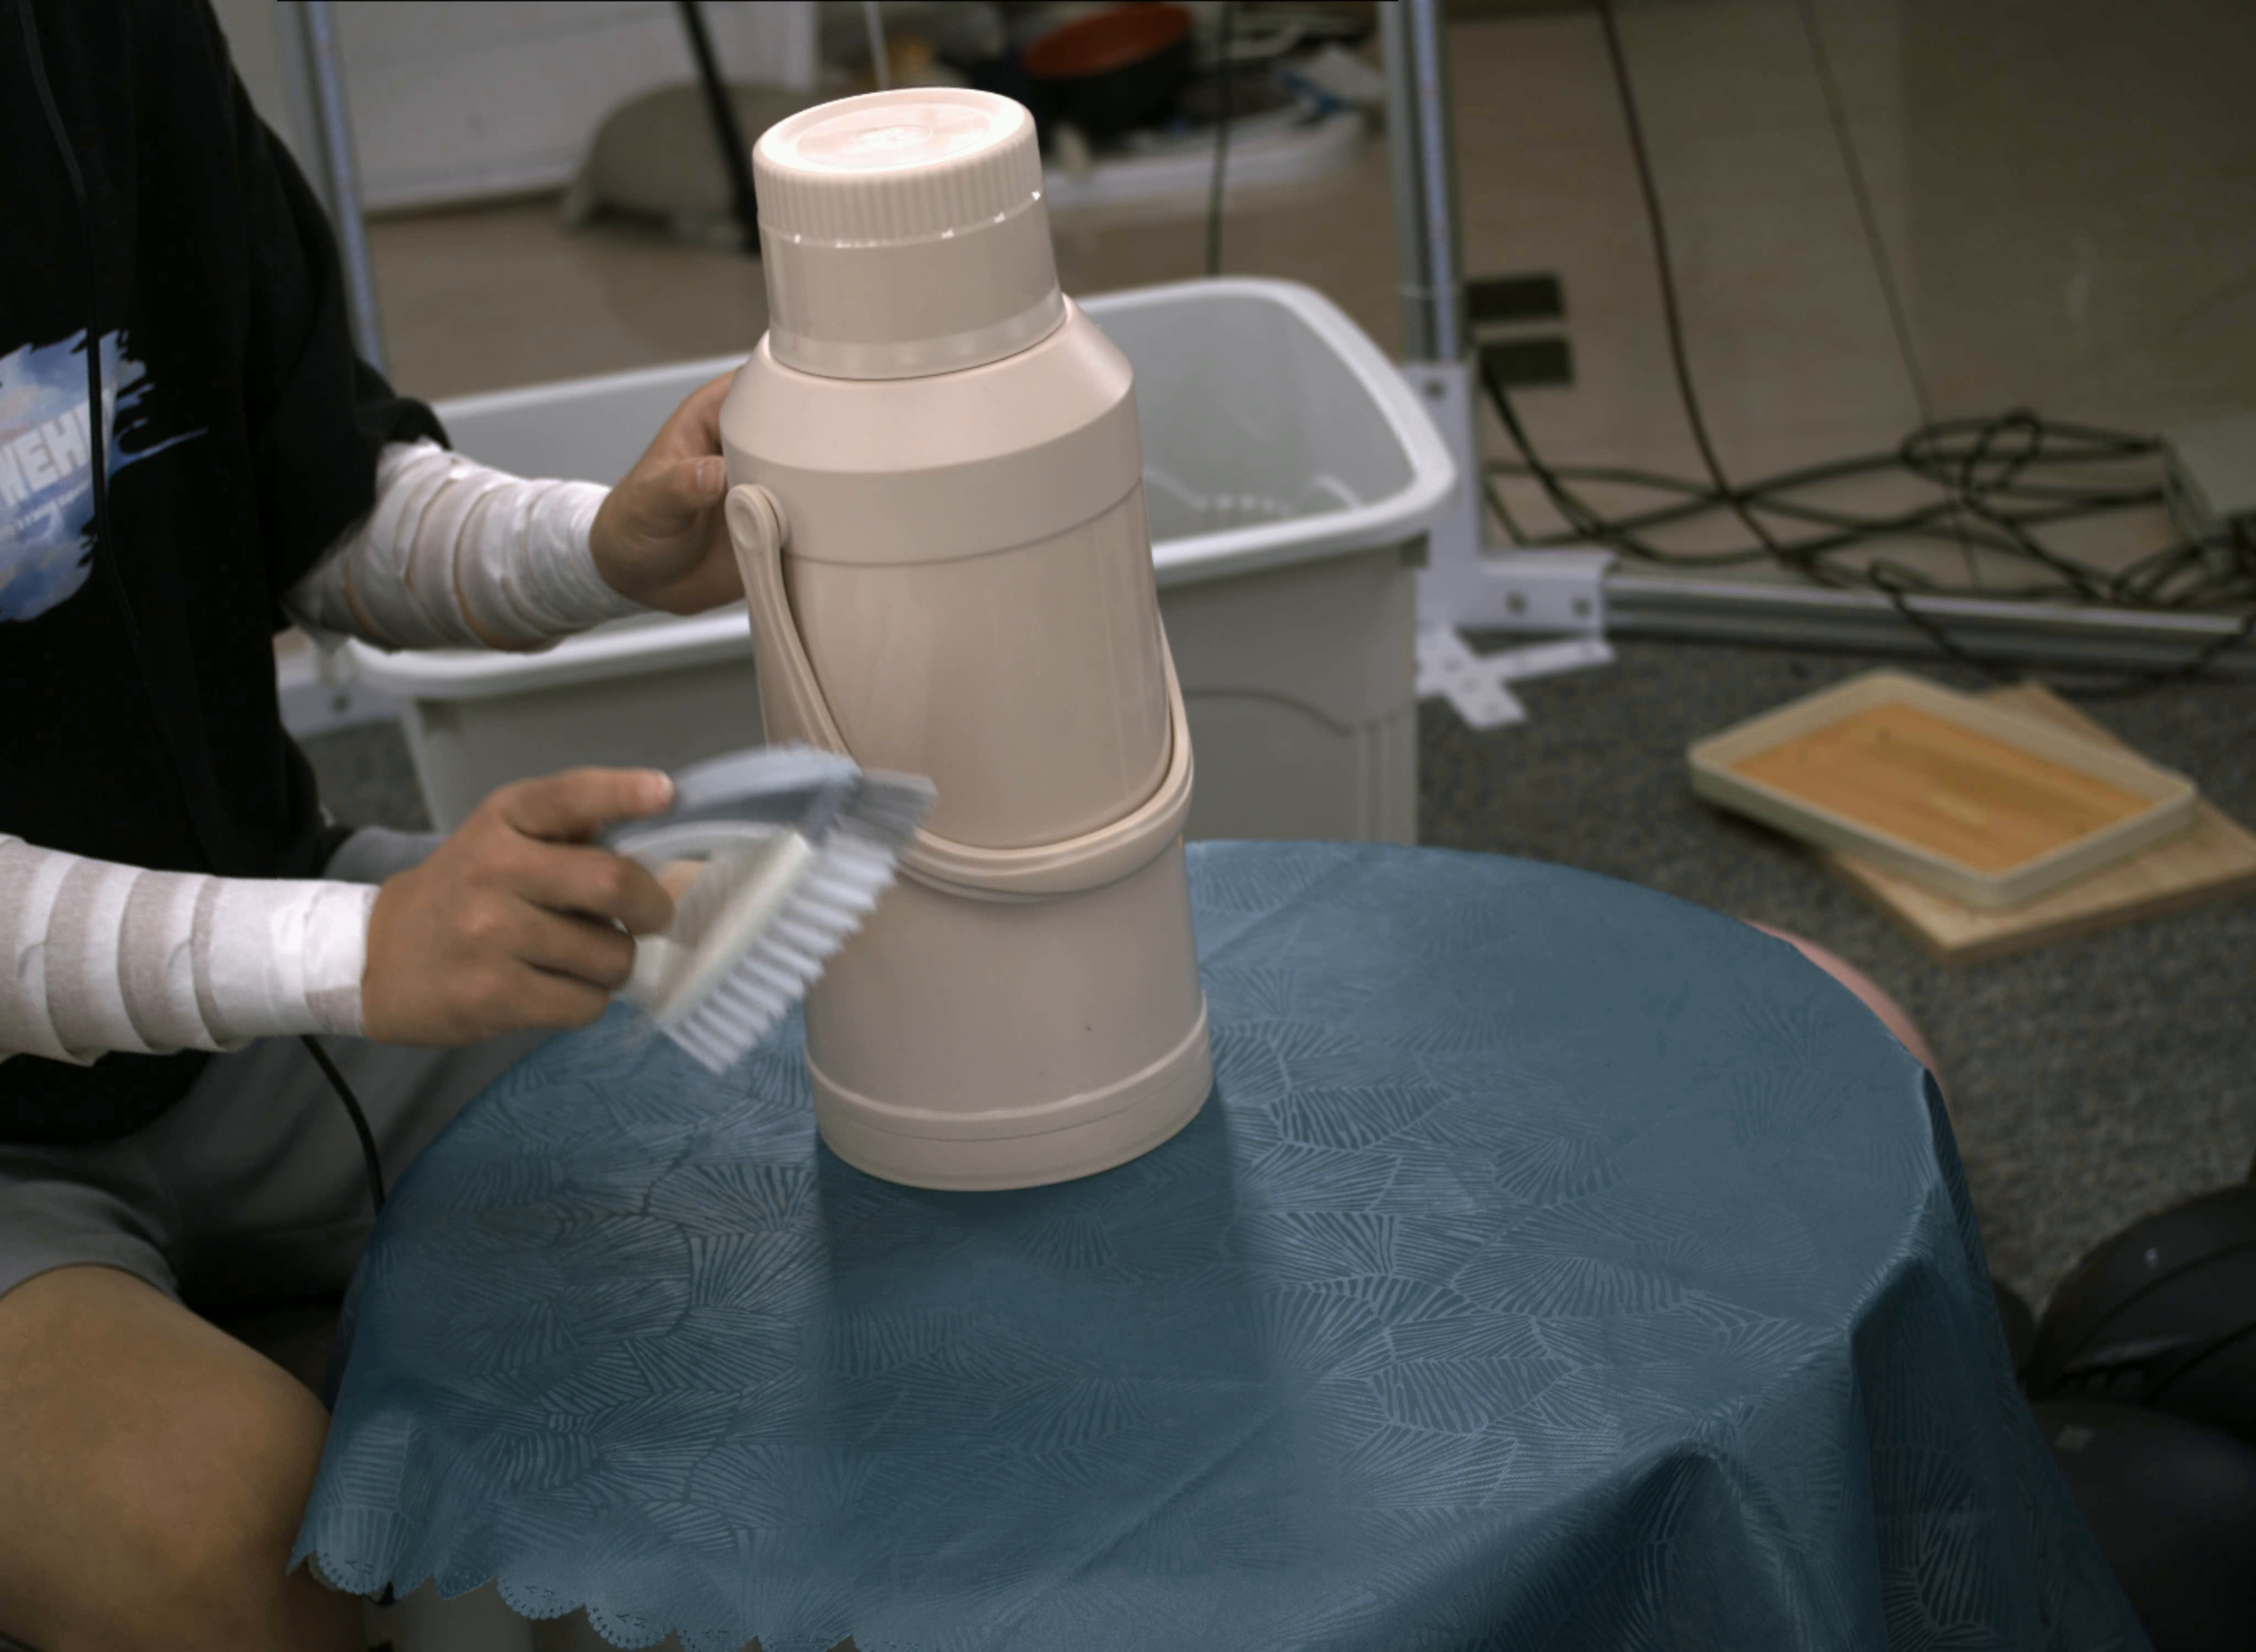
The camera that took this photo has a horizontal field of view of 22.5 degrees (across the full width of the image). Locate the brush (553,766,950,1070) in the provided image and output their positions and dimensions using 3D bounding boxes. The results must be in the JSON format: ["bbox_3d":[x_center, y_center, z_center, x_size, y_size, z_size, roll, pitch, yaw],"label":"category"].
[{"bbox_3d":[-0.142,0.019,2.017,0.094,0.177,0.060,22,53,-24],"label":"brush"}]

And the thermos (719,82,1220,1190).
[{"bbox_3d":[-0.072,-0.077,2.153,0.174,0.413,0.205,-26,31,-32],"label":"thermos"}]
